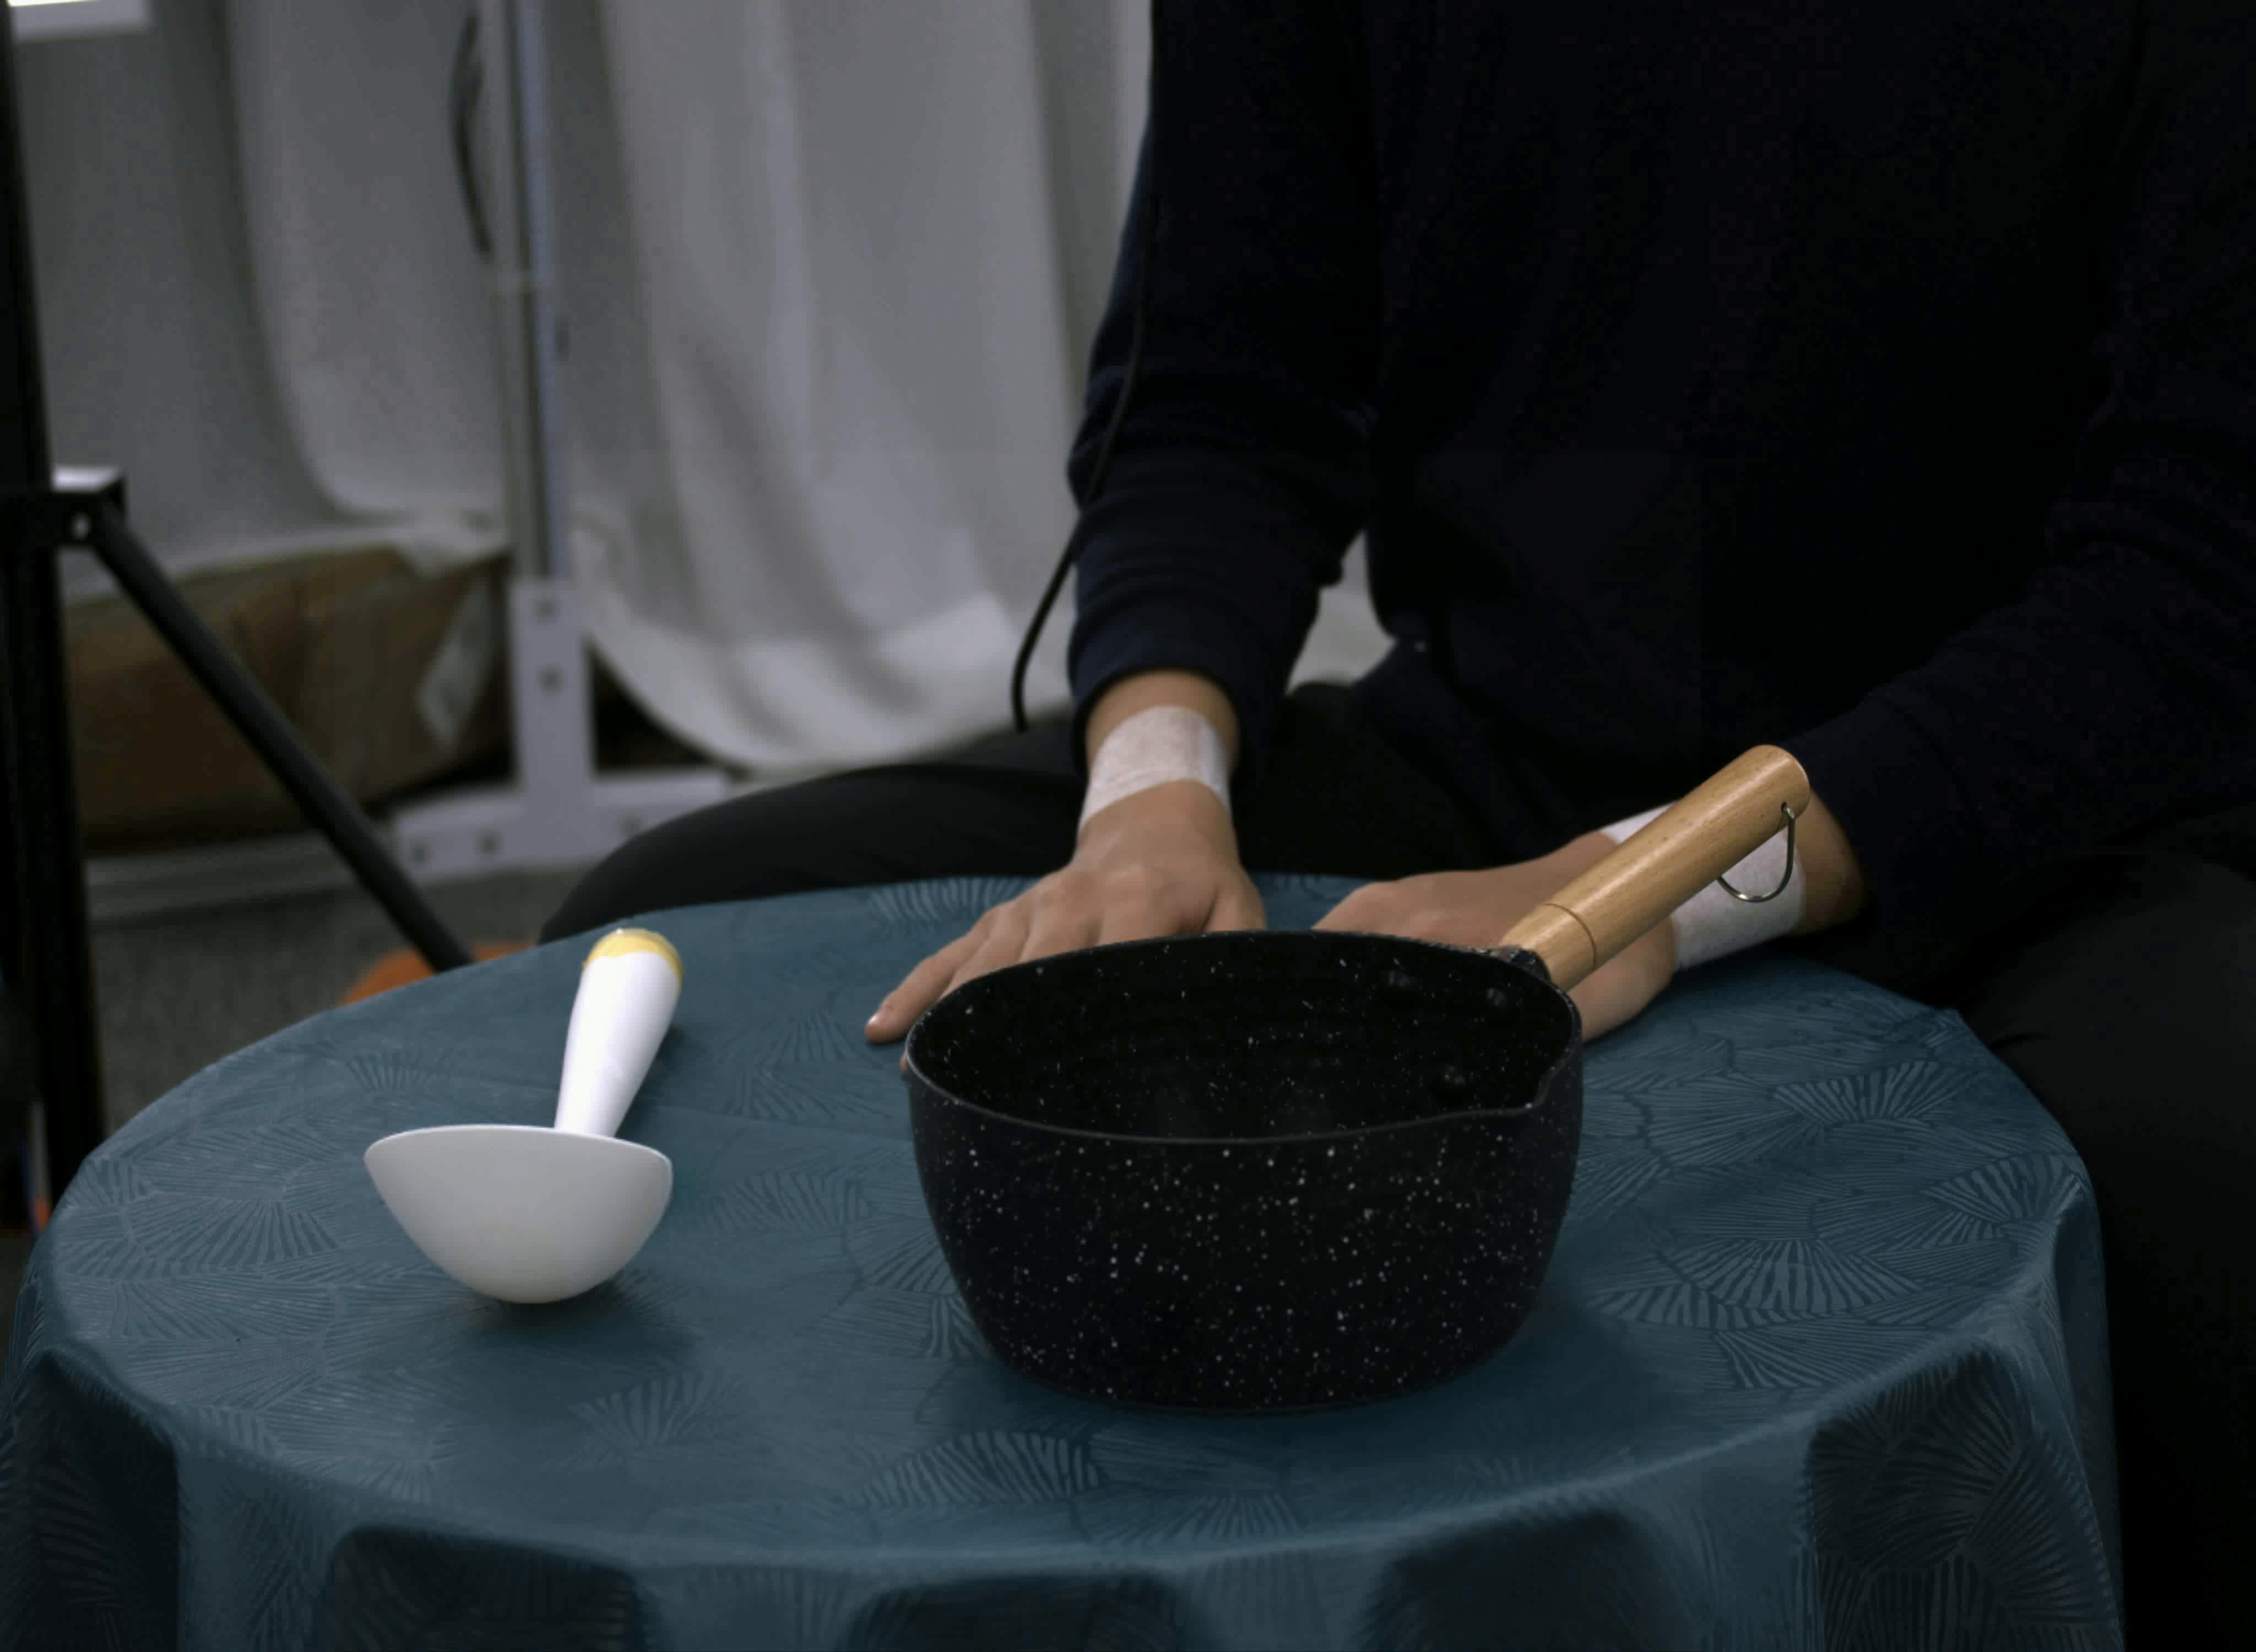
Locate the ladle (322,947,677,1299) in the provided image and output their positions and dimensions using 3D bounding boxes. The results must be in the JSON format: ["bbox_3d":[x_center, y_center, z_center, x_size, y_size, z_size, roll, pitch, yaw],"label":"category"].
[{"bbox_3d":[-0.172,0.073,1.592,0.090,0.070,0.293,-6,14,5],"label":"ladle"}]

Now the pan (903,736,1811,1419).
[{"bbox_3d":[0.085,0.066,1.496,0.212,0.108,0.335,10,22,41],"label":"pan"}]
